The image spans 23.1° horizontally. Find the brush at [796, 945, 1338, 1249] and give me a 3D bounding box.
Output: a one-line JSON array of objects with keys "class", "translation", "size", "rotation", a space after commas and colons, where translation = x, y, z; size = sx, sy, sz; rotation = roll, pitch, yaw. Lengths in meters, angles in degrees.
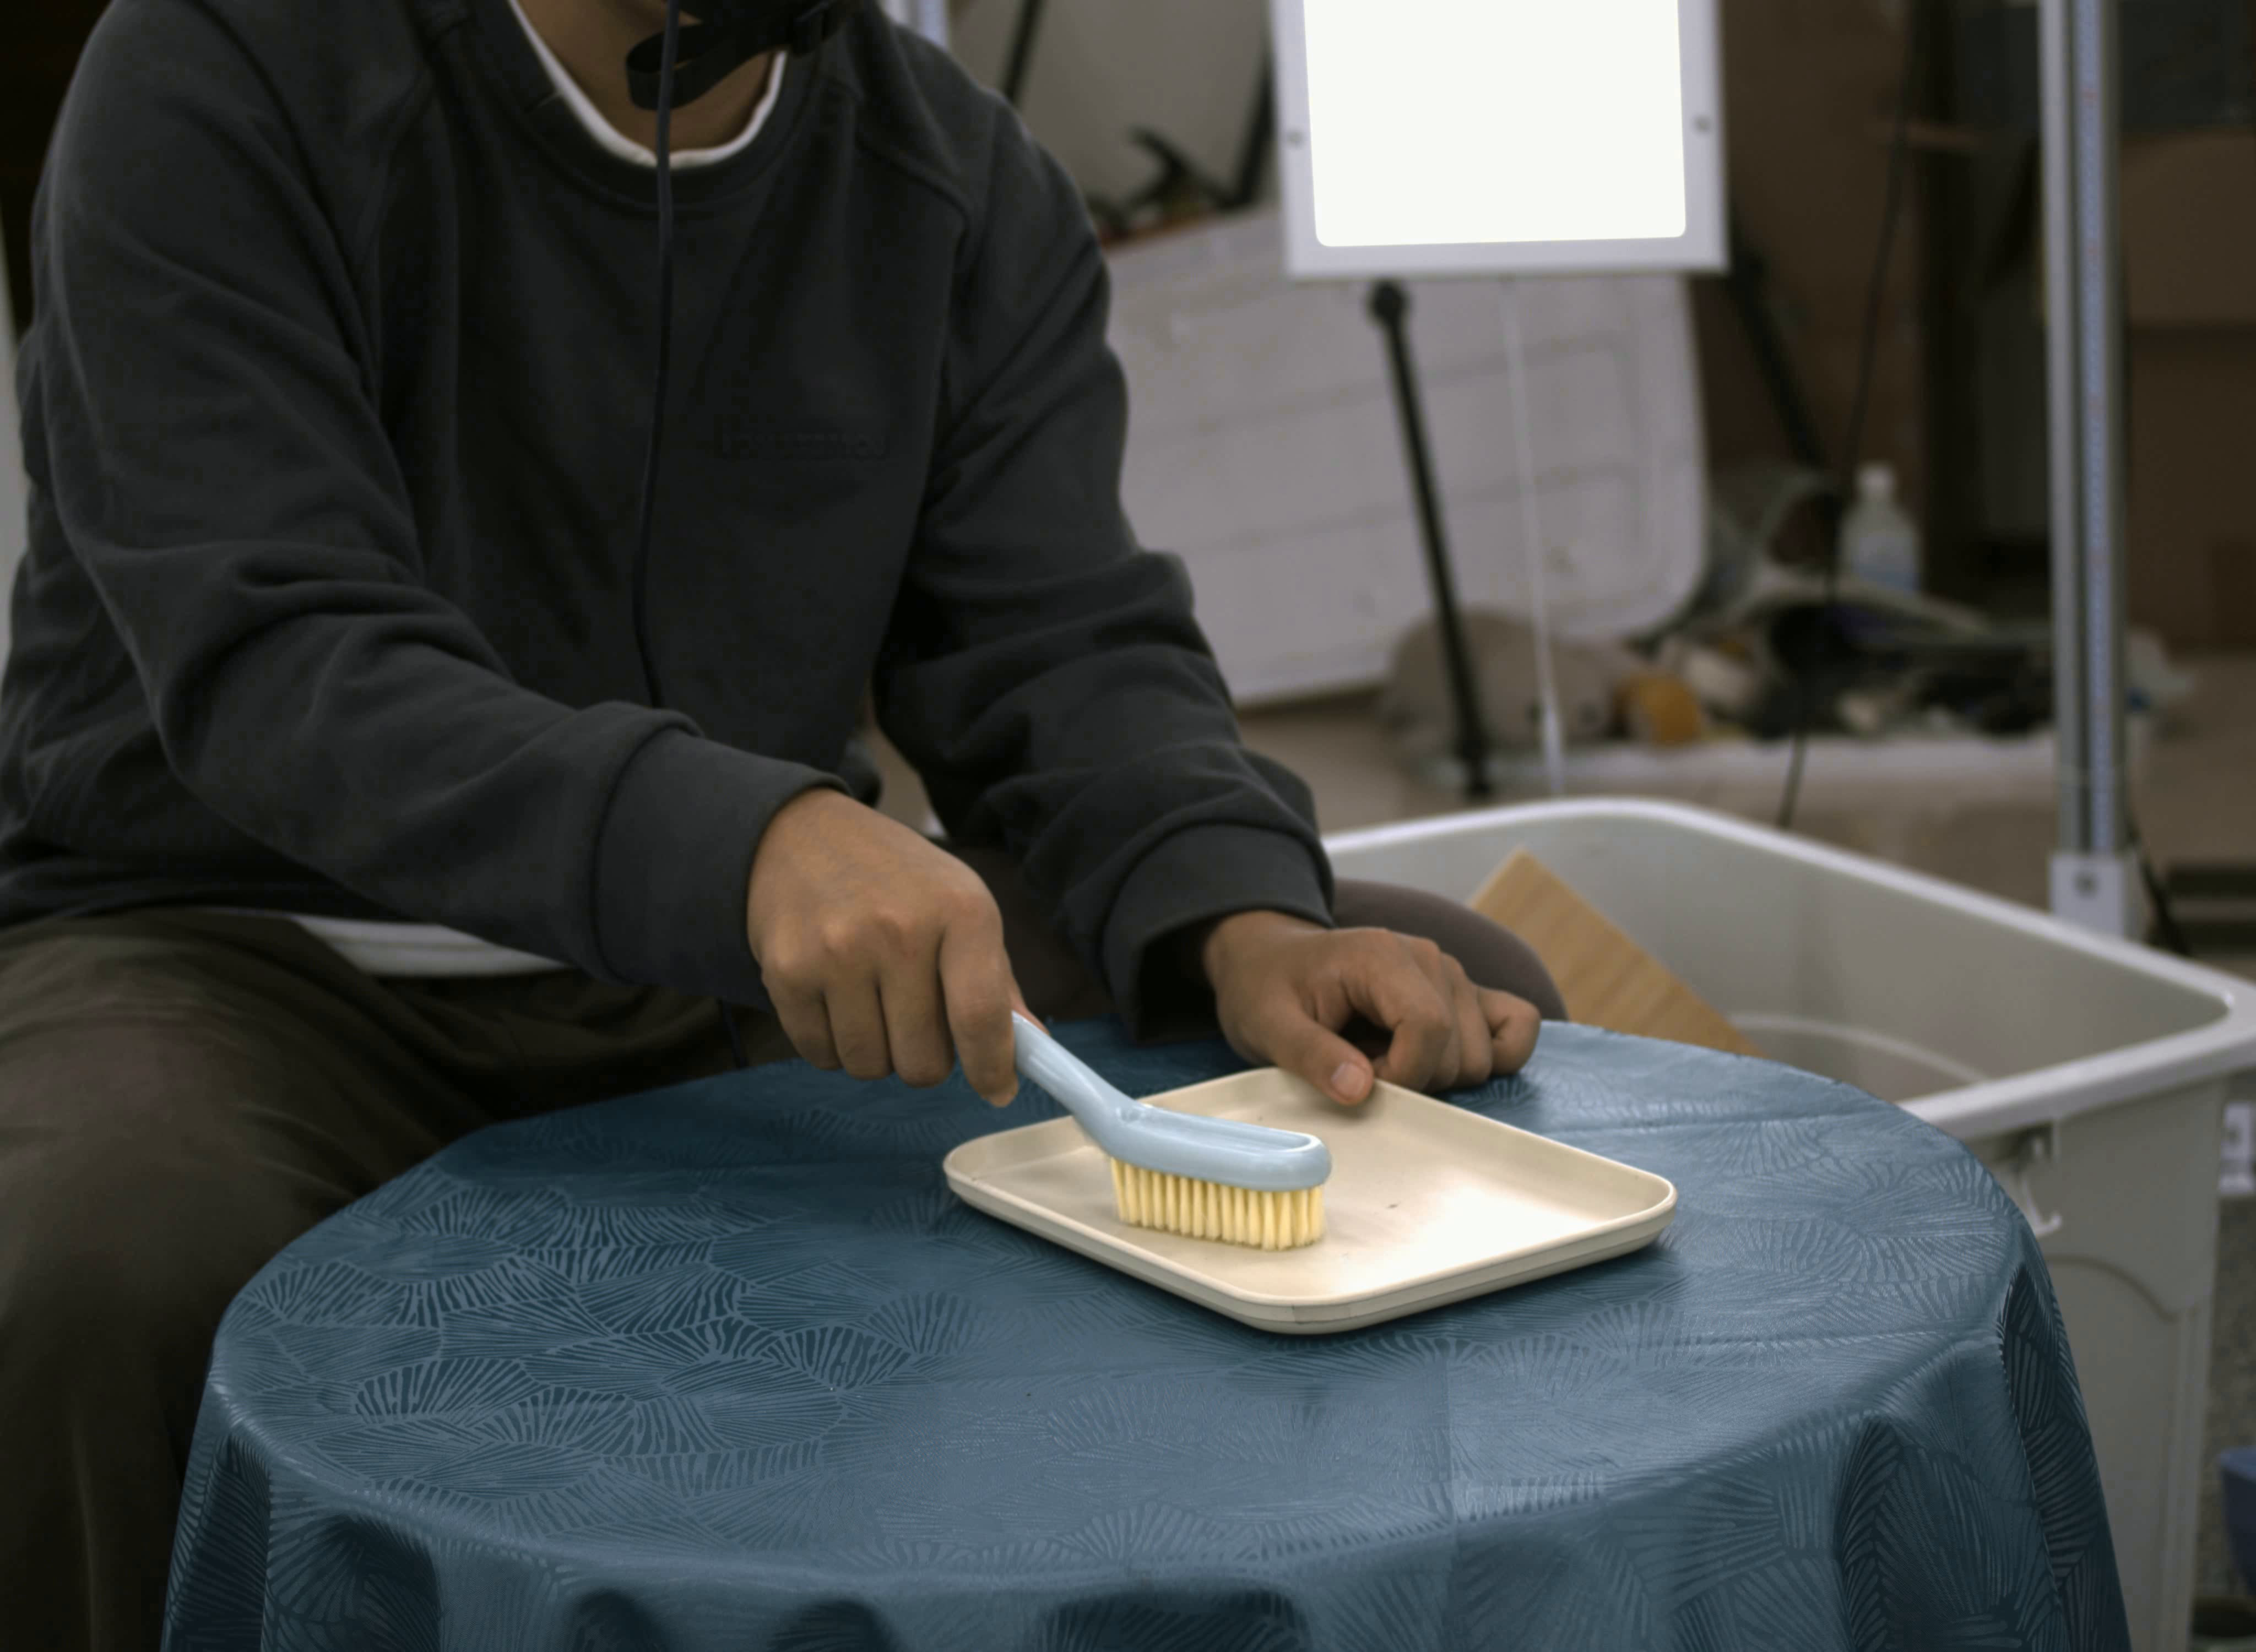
[{"class": "brush", "translation": [-0.025, 0.092, 1.876], "size": [0.233, 0.050, 0.037], "rotation": [23, 26, 34]}]

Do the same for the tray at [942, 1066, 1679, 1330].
[{"class": "tray", "translation": [0.059, 0.124, 1.849], "size": [0.167, 0.017, 0.244], "rotation": [-12, 15, -29]}]
